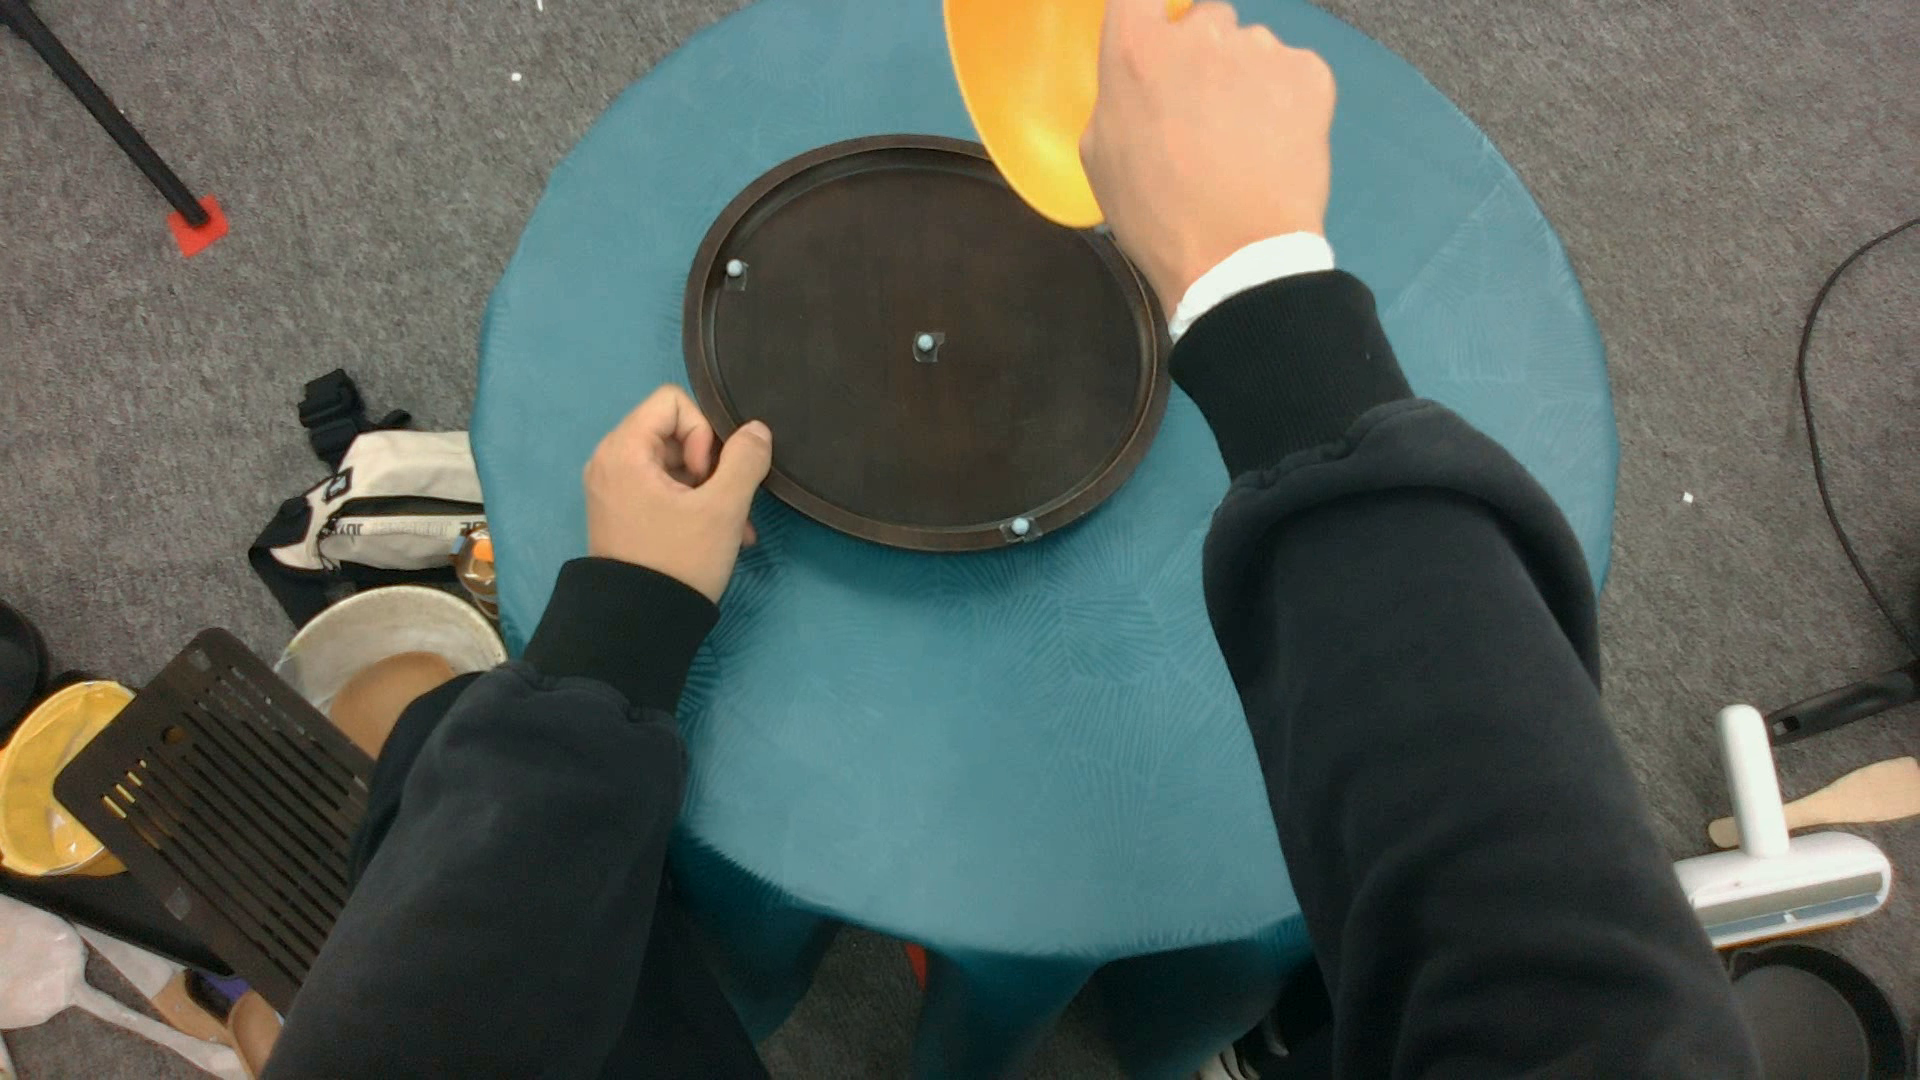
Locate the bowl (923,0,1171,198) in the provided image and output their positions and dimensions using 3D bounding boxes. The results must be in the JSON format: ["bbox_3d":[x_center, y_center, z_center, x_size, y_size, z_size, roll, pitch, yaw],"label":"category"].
[{"bbox_3d":[0.043,-0.220,0.566,0.060,0.144,0.145,-29,72,-18],"label":"bowl"}]

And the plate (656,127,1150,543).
[{"bbox_3d":[-0.026,-0.111,0.707,0.255,0.029,0.255,5,64,-10],"label":"plate"}]
